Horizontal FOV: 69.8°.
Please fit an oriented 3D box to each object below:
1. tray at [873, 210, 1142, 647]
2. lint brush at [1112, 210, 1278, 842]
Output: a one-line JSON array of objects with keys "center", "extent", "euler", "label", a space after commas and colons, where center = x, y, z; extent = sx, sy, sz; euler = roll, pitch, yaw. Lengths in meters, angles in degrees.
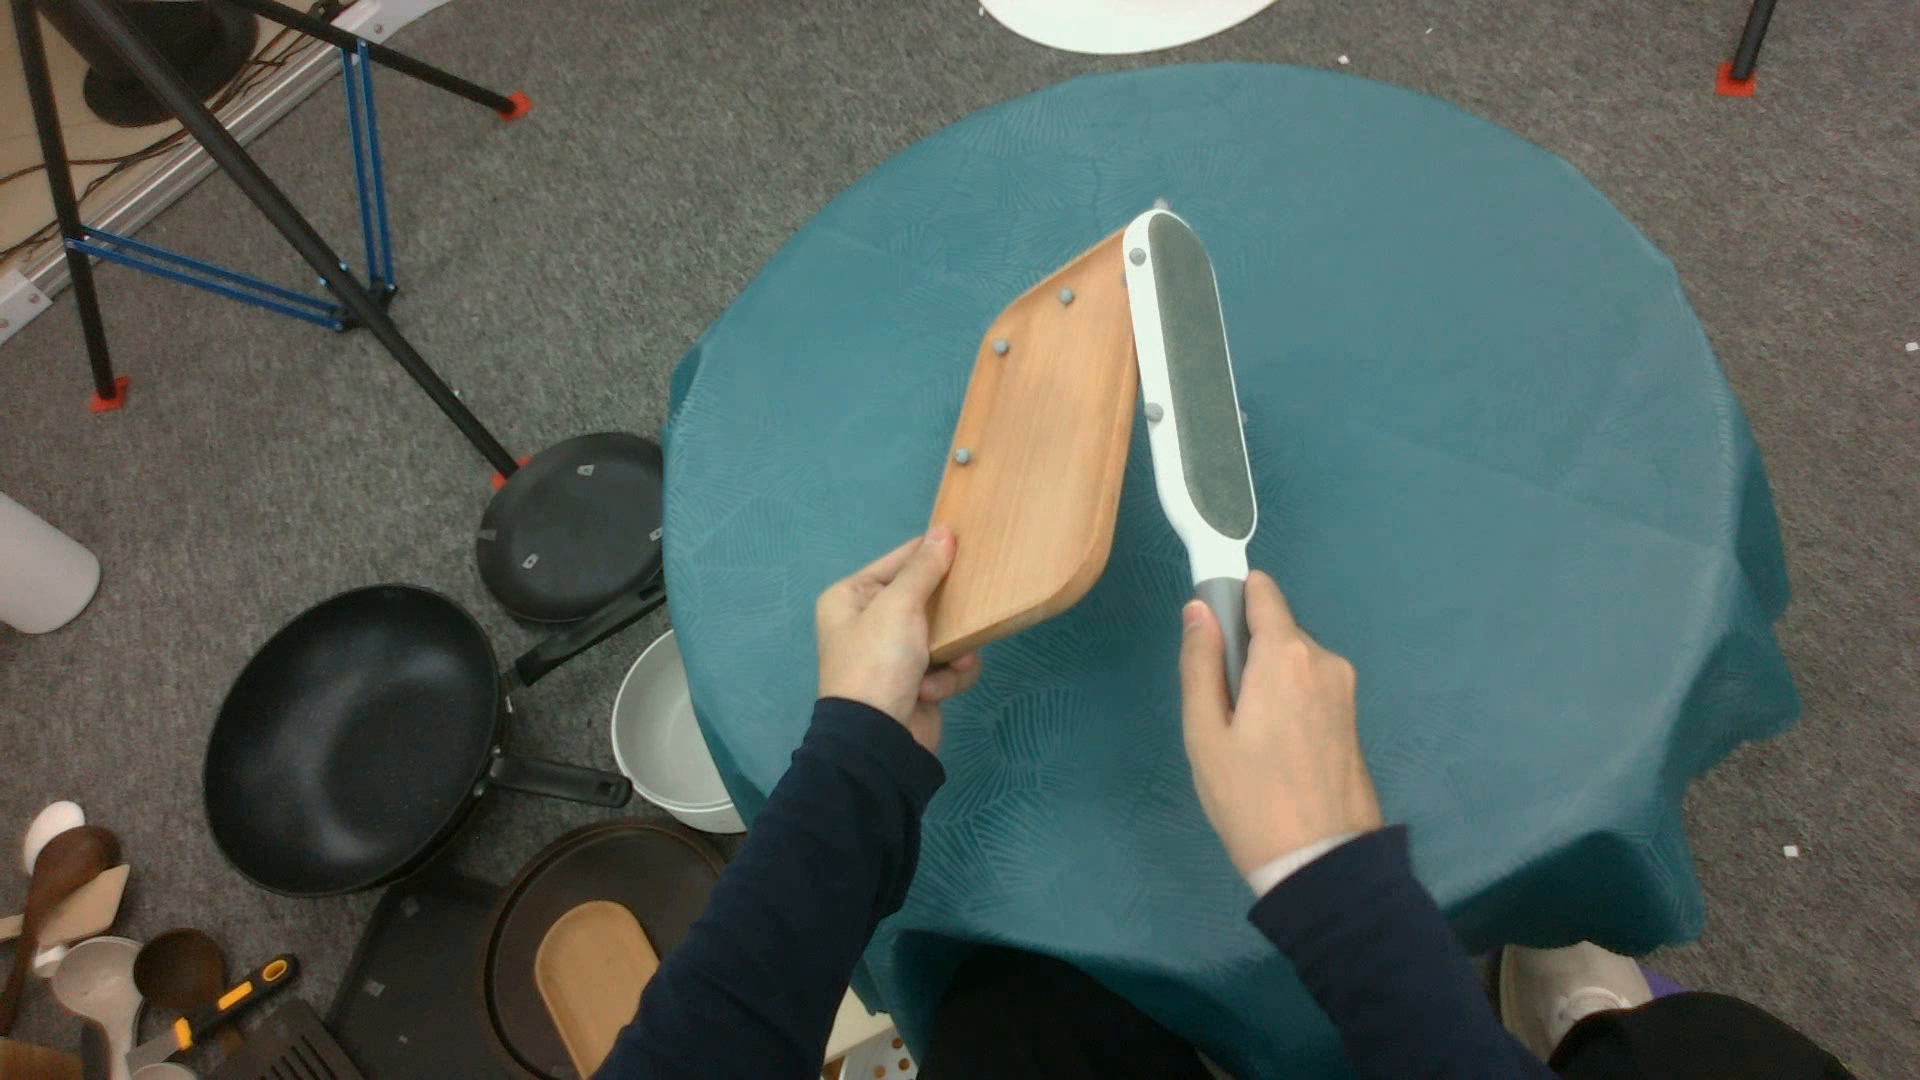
[{"center": [0.028, -0.060, 0.677], "extent": [0.130, 0.023, 0.252], "euler": [-27, 36, 42], "label": "tray"}, {"center": [0.105, -0.020, 0.616], "extent": [0.021, 0.060, 0.310], "euler": [-25, 59, 36], "label": "lint brush"}]
